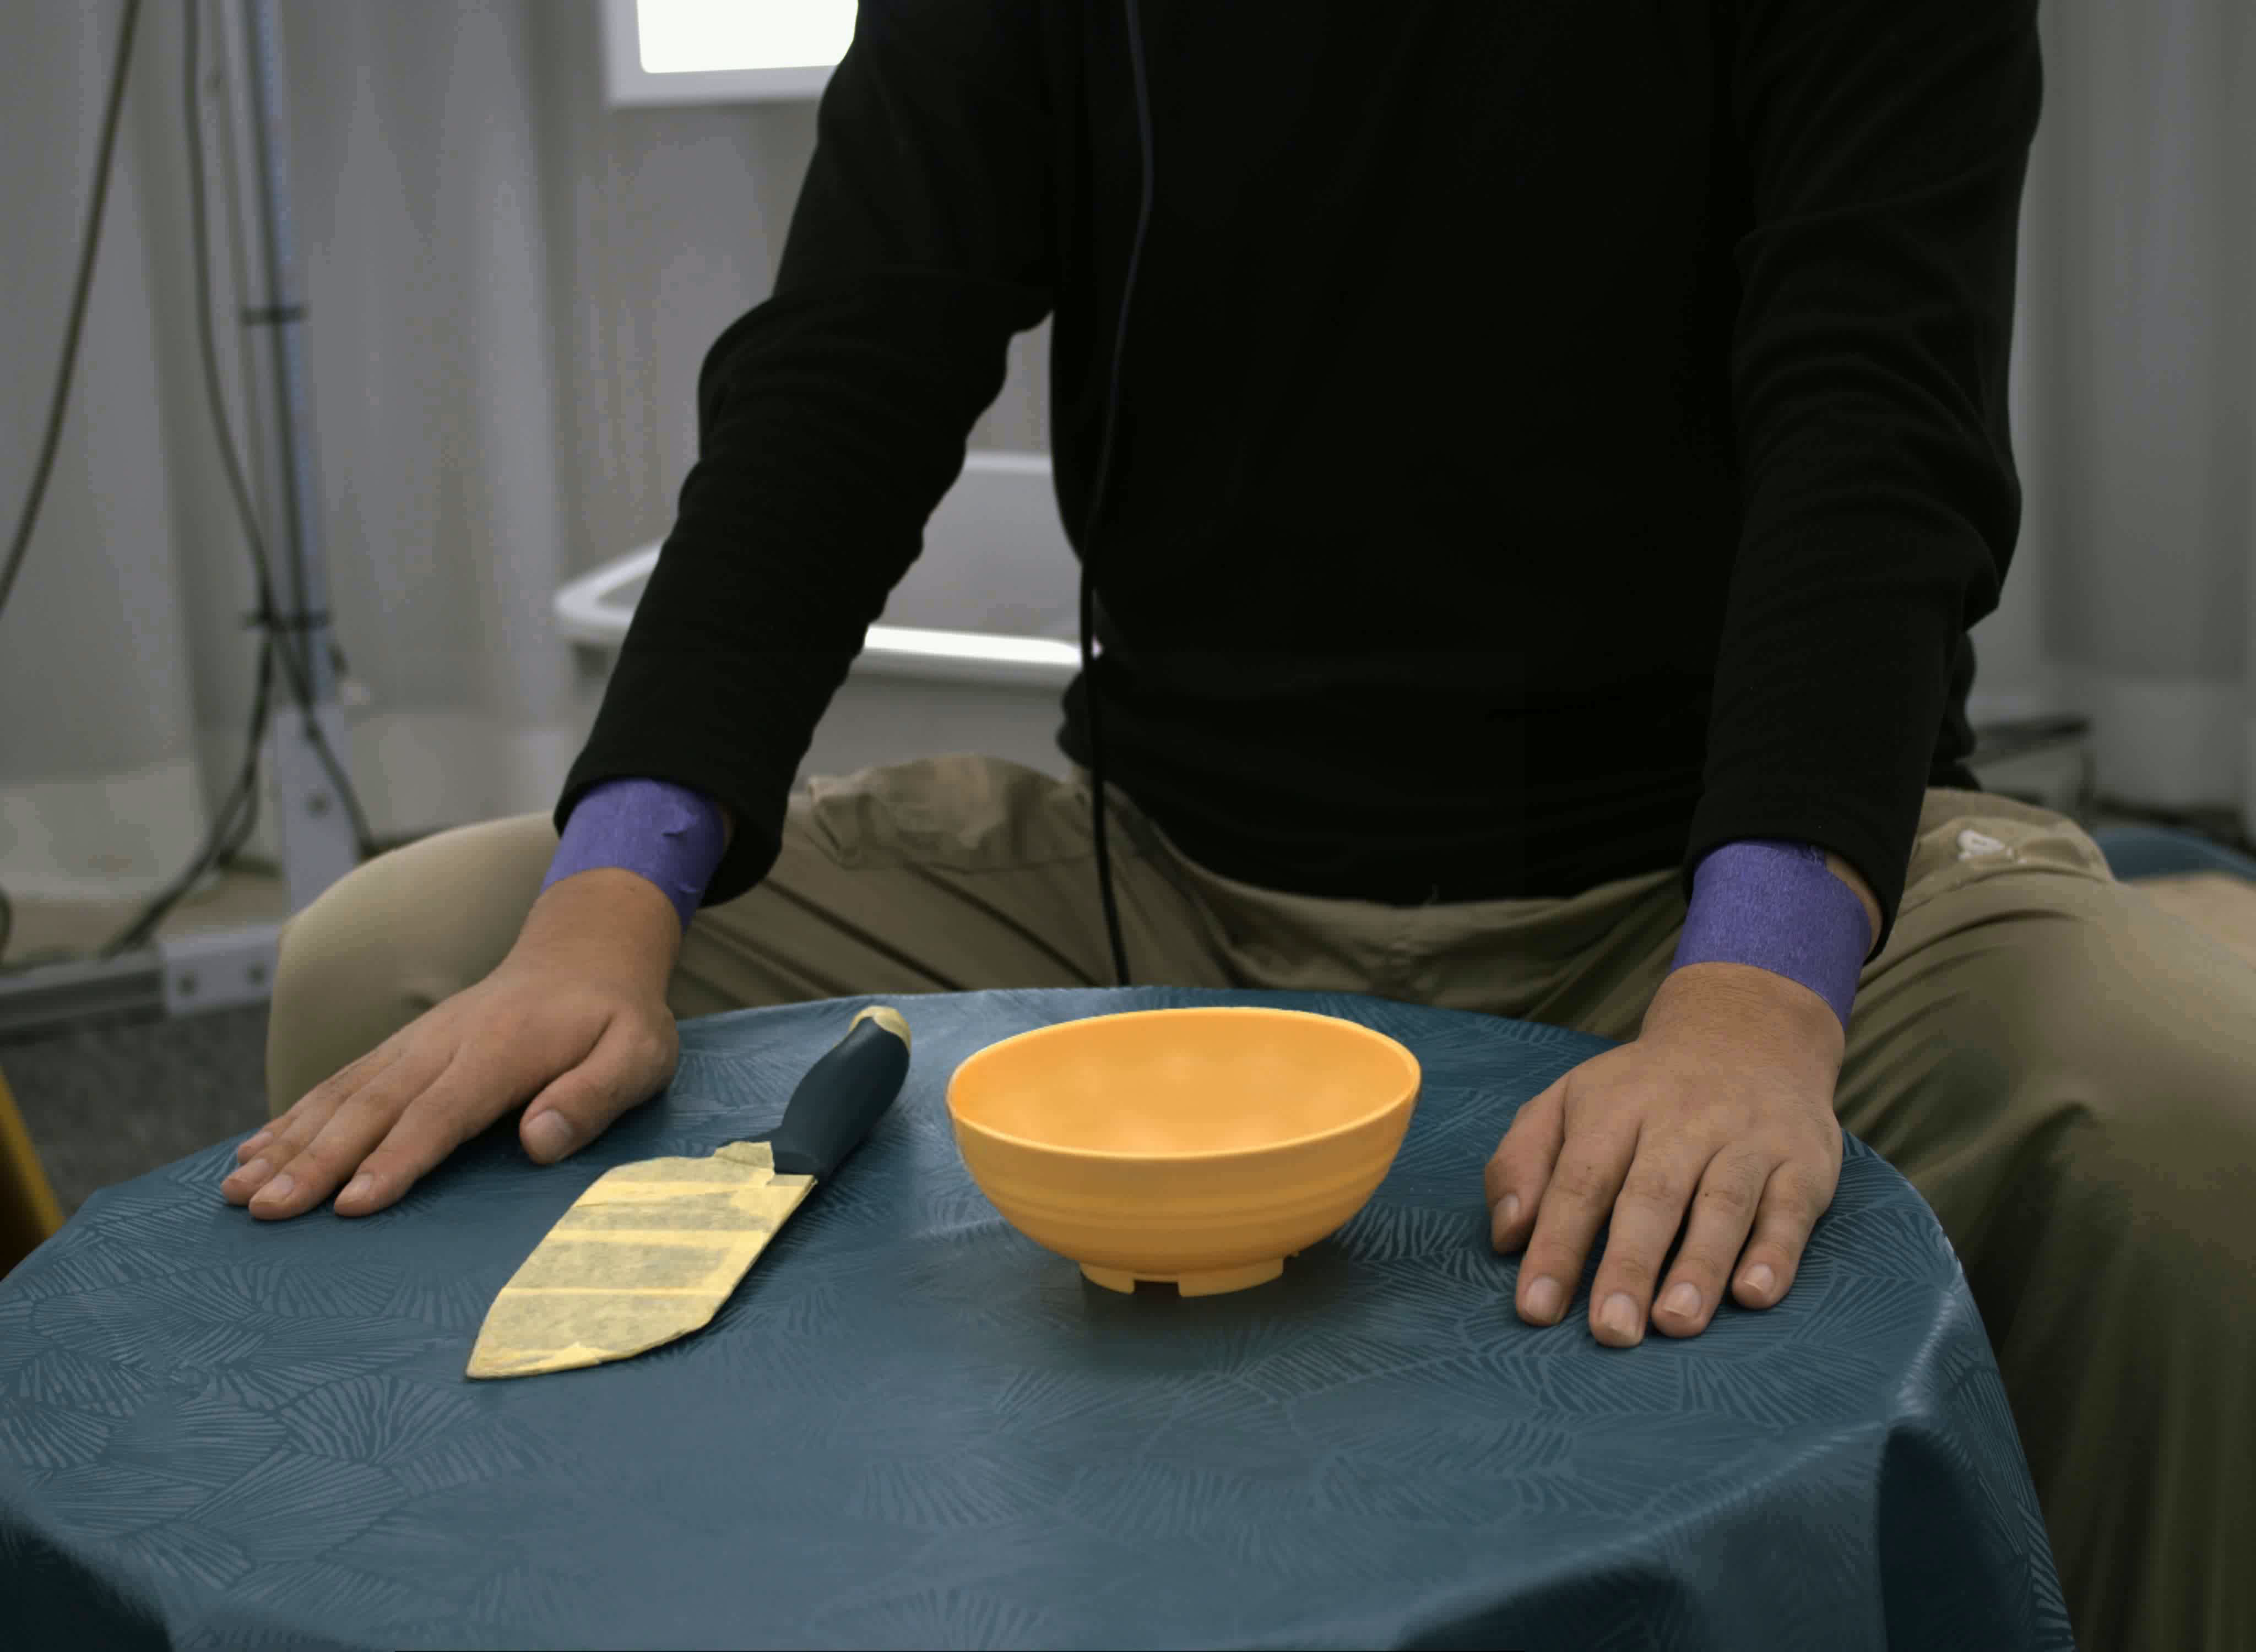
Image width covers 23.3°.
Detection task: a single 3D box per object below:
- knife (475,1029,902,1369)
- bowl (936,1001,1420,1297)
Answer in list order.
[{"bbox_3d":[-0.132,0.116,1.708,0.081,0.027,0.291,3,17,16],"label":"knife"},{"bbox_3d":[0.015,0.103,1.643,0.145,0.060,0.146,-1,16,0],"label":"bowl"}]
